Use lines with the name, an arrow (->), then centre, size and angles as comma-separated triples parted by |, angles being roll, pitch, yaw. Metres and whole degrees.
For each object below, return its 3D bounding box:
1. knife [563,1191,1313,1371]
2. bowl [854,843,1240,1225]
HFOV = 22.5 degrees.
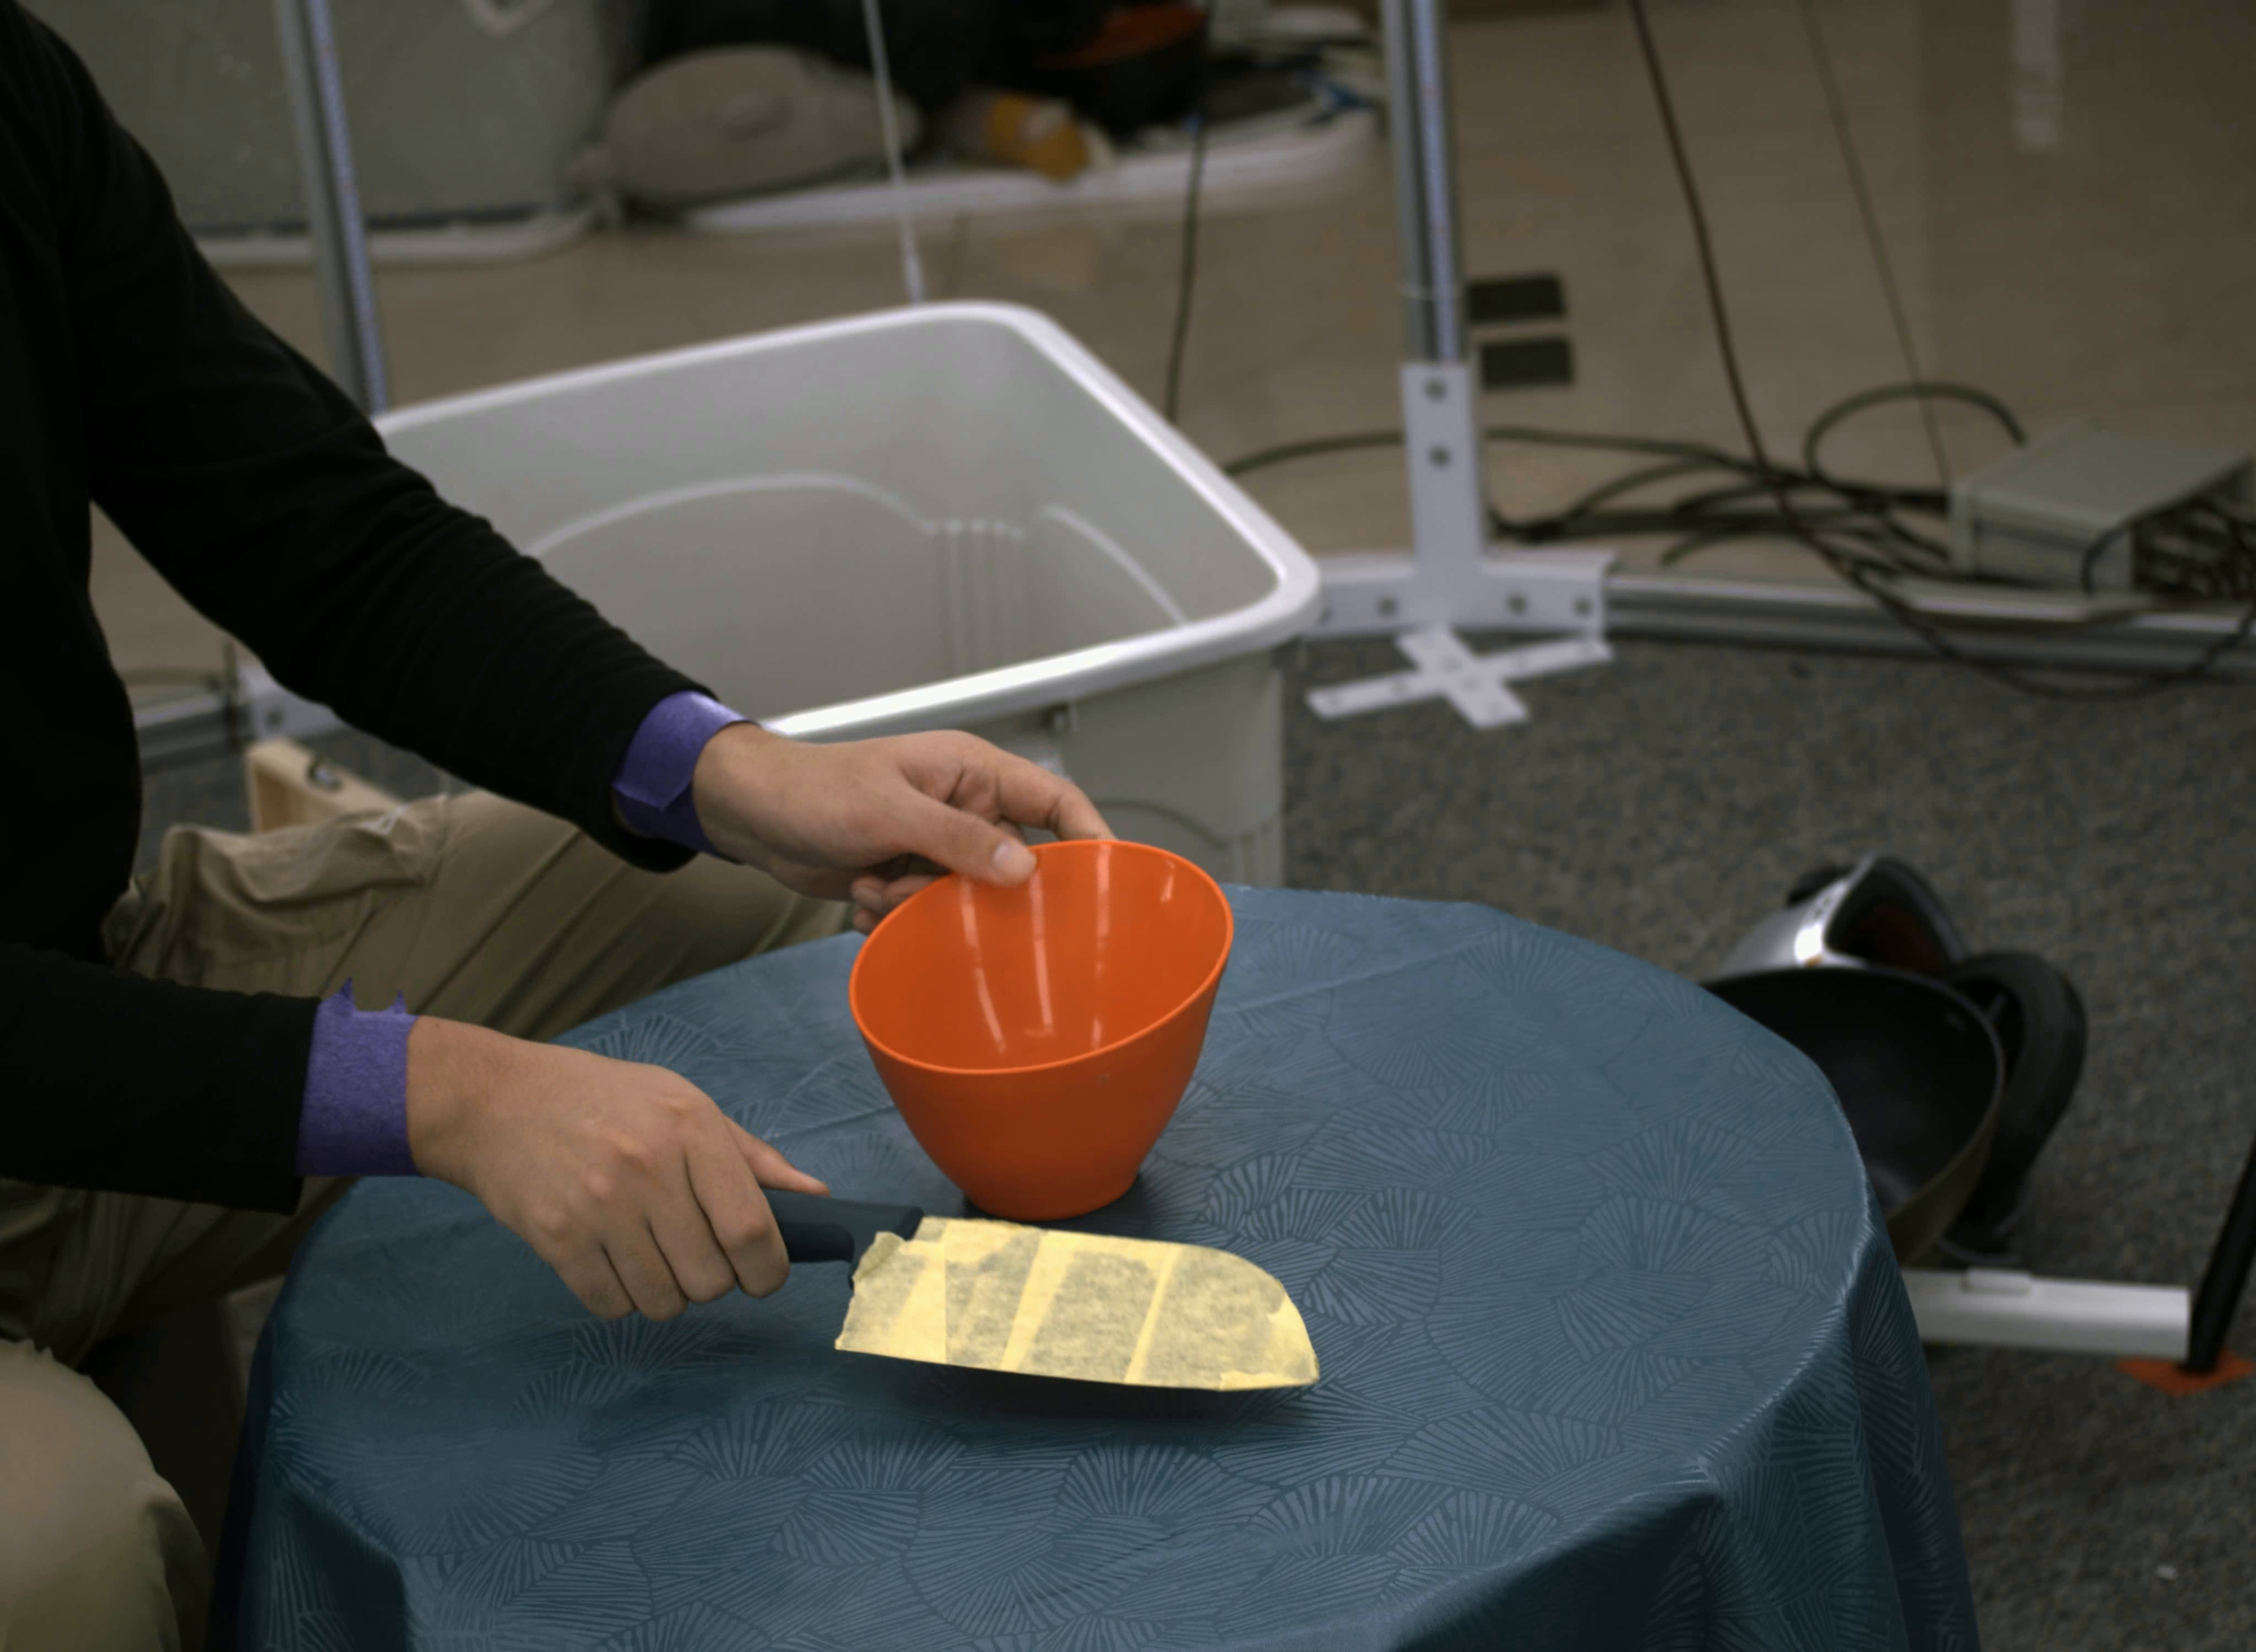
knife -> -0.072, 0.163, 2.026 | 0.288, 0.028, 0.079 | 5, 39, 17
bowl -> -0.027, 0.085, 2.150 | 0.148, 0.106, 0.146 | -5, 27, 3
